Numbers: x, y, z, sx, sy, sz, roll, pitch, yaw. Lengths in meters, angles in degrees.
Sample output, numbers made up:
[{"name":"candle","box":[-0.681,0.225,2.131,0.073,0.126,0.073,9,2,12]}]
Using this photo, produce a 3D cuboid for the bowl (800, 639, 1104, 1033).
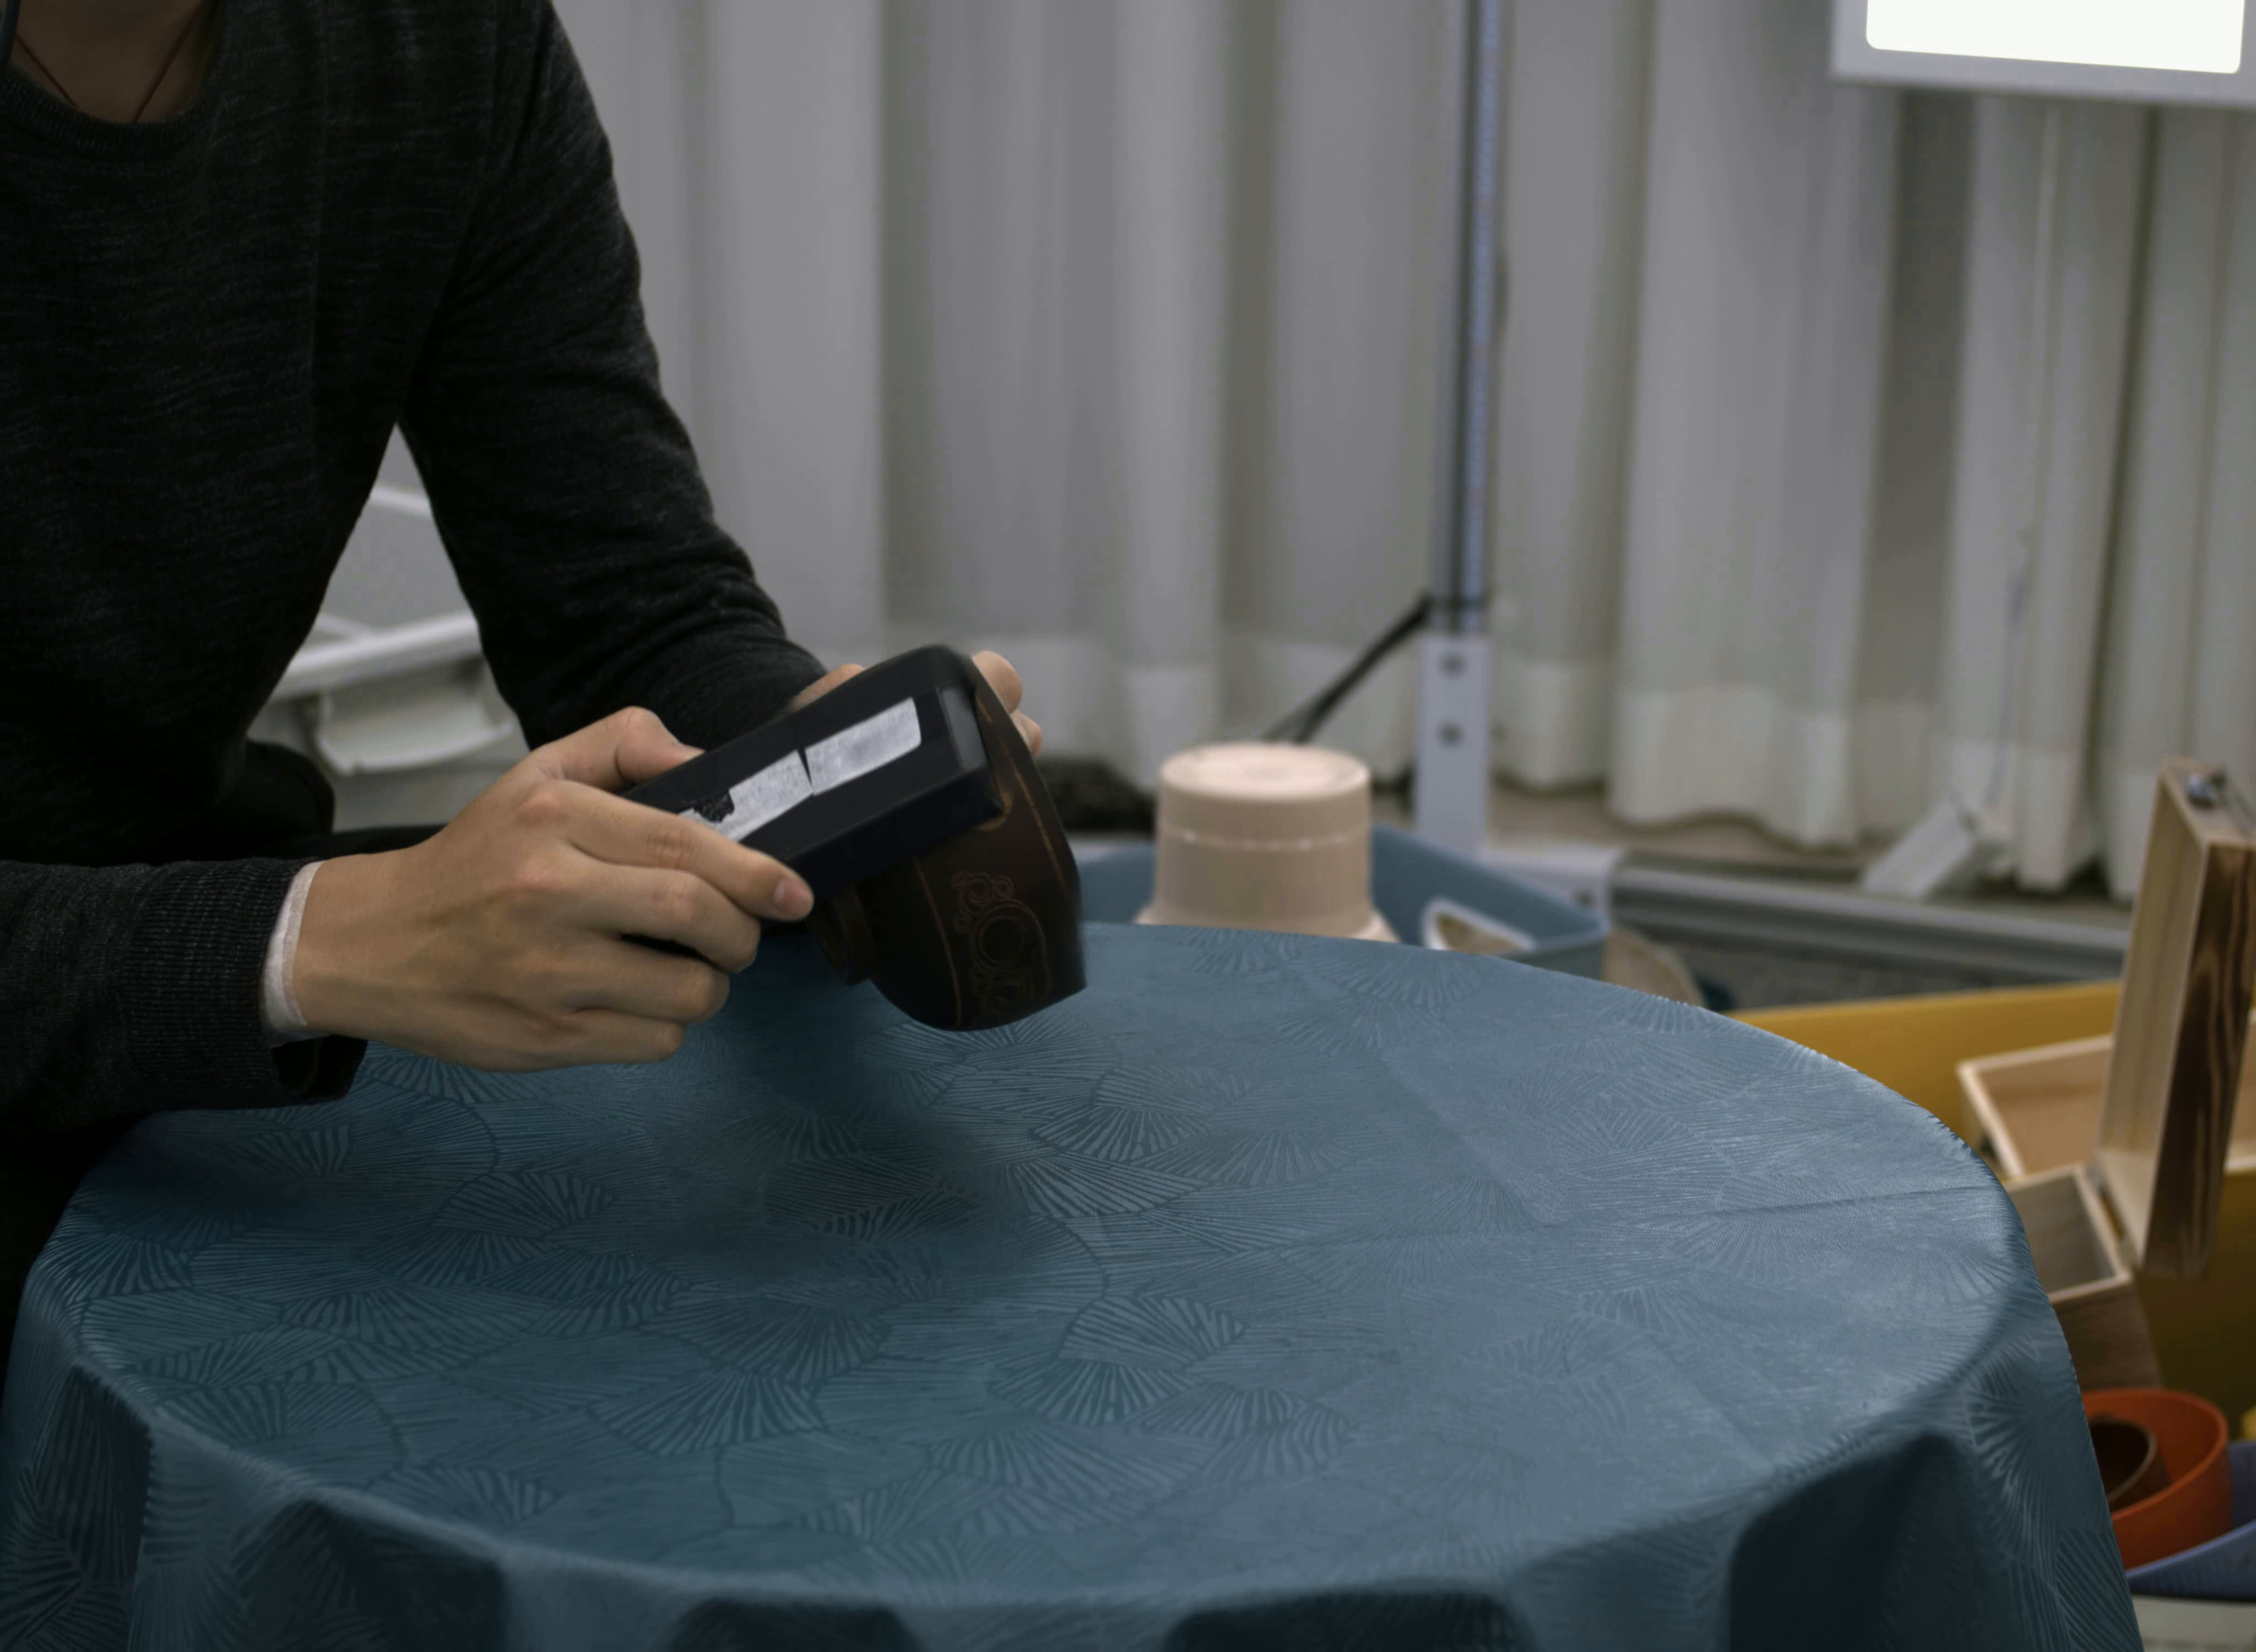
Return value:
[{"name":"bowl","box":[-0.063,0.009,1.593,0.070,0.119,0.116,-24,23,-15]}]

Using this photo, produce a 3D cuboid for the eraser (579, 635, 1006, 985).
[{"name":"eraser","box":[-0.098,-0.005,1.535,0.125,0.031,0.053,-28,55,11]}]
